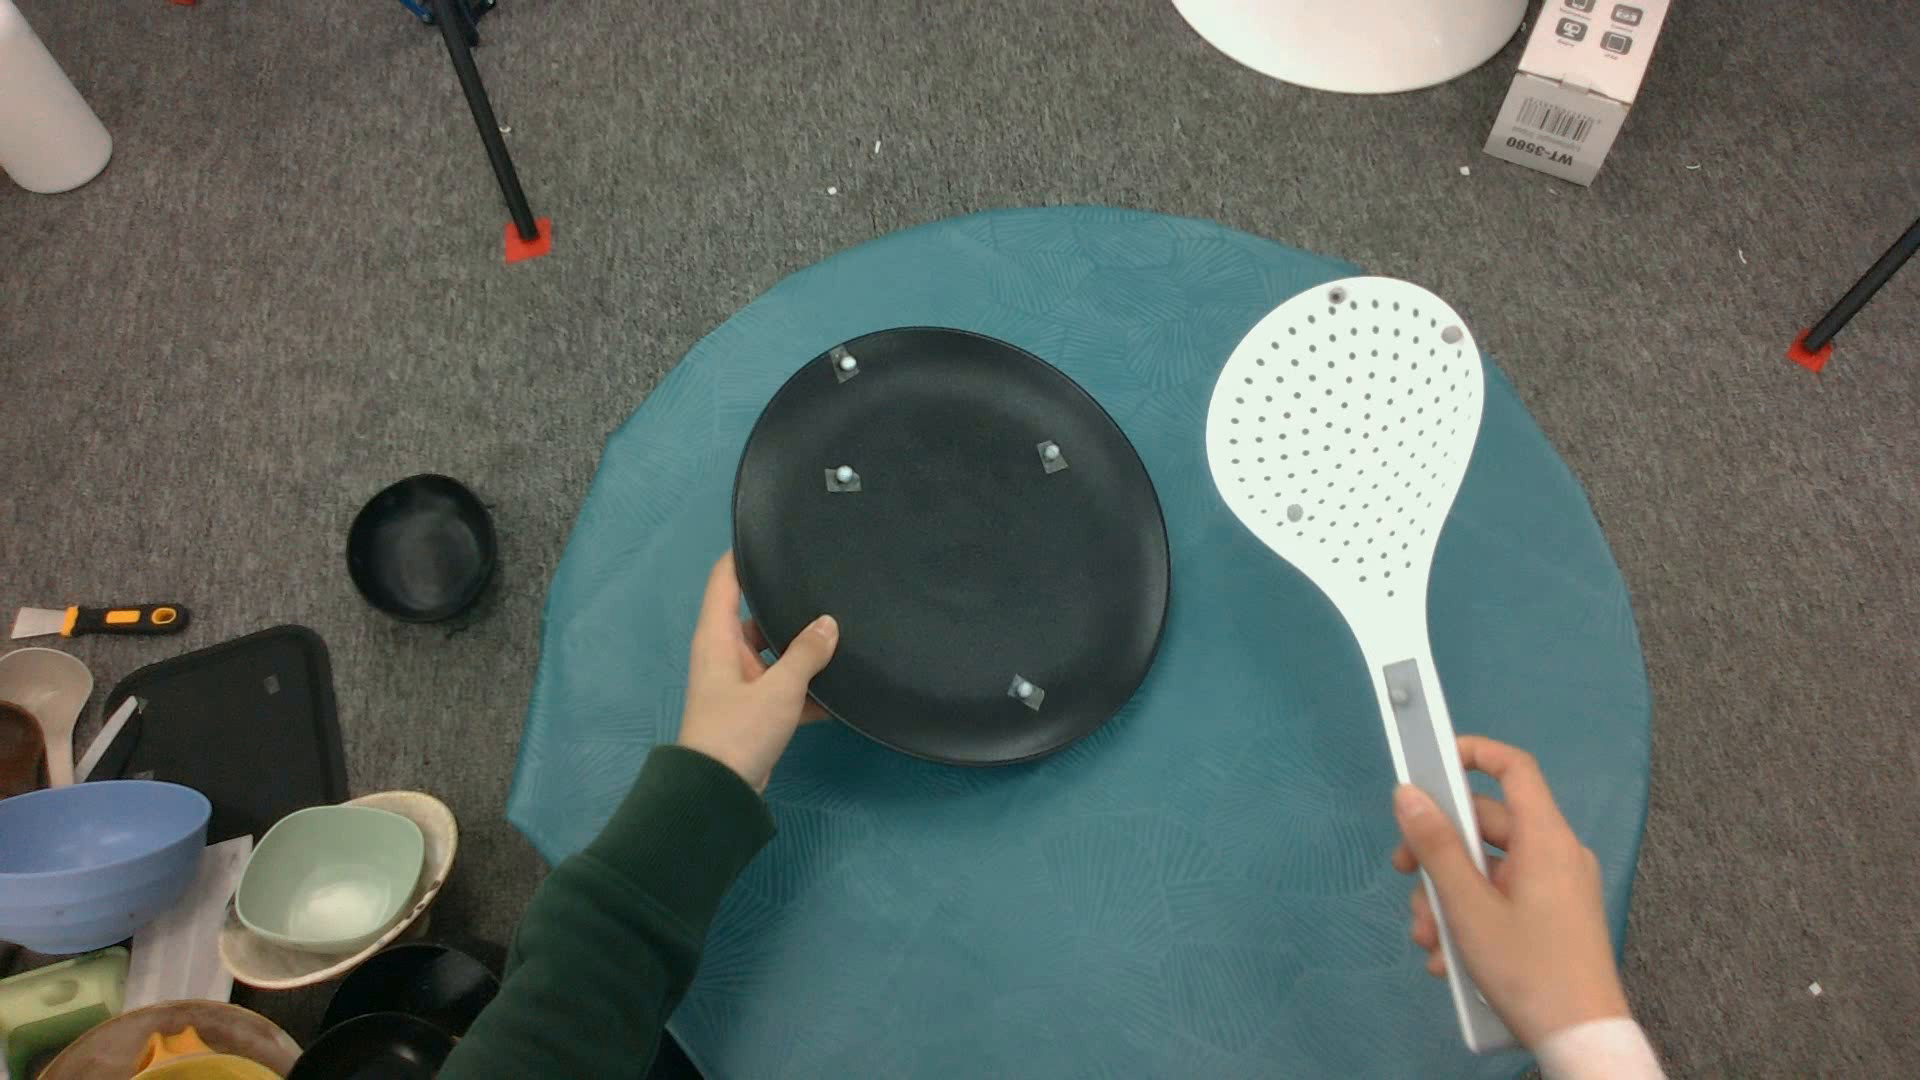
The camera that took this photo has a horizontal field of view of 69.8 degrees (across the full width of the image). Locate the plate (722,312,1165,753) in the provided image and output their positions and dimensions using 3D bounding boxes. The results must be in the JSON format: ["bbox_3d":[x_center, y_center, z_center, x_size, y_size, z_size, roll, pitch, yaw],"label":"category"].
[{"bbox_3d":[-0.006,-0.008,0.722,0.245,0.023,0.245,8,67,-19],"label":"plate"}]

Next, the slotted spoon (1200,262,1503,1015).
[{"bbox_3d":[0.192,0.031,0.627,0.135,0.046,0.351,-21,59,32],"label":"slotted spoon"}]
